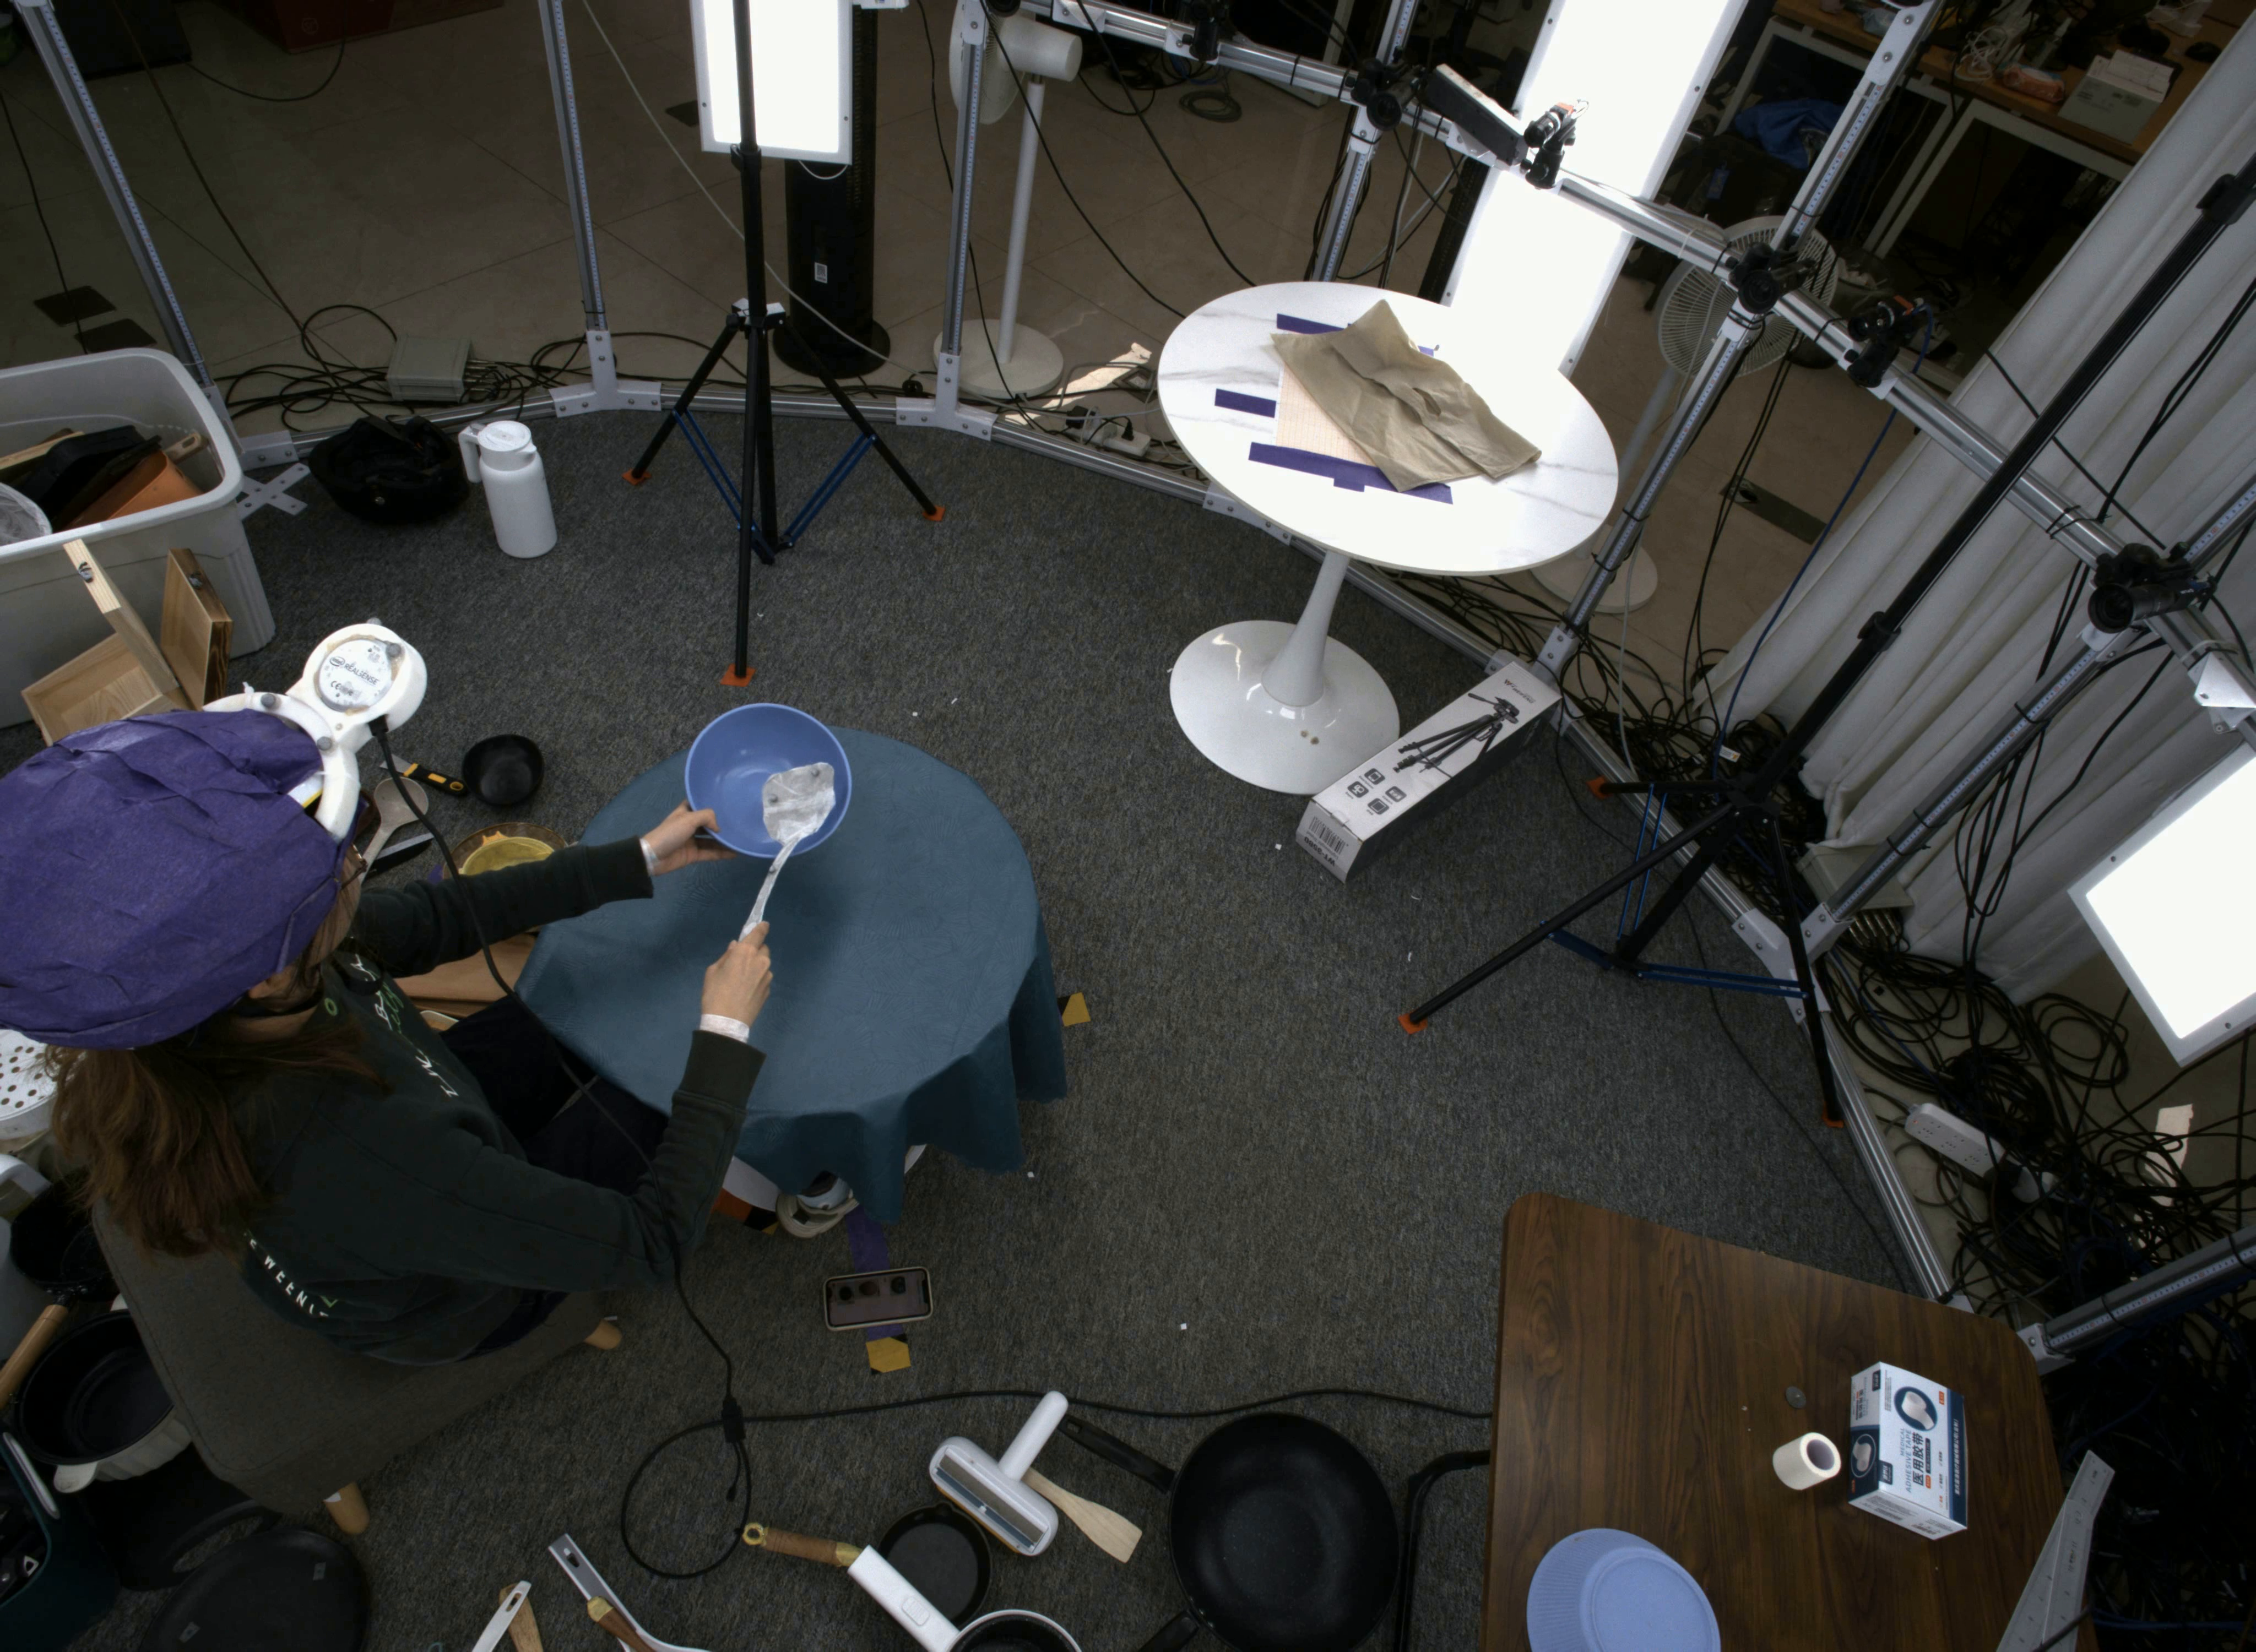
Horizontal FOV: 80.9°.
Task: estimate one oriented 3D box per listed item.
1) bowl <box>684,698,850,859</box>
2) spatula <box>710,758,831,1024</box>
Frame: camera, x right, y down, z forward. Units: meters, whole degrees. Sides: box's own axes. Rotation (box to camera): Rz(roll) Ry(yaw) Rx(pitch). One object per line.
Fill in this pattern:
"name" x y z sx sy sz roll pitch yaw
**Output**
"bowl" -0.447 -0.046 1.590 0.199 0.094 0.196 8 72 -22
"spatula" -0.408 0.059 1.437 0.096 0.046 0.358 -9 42 15
